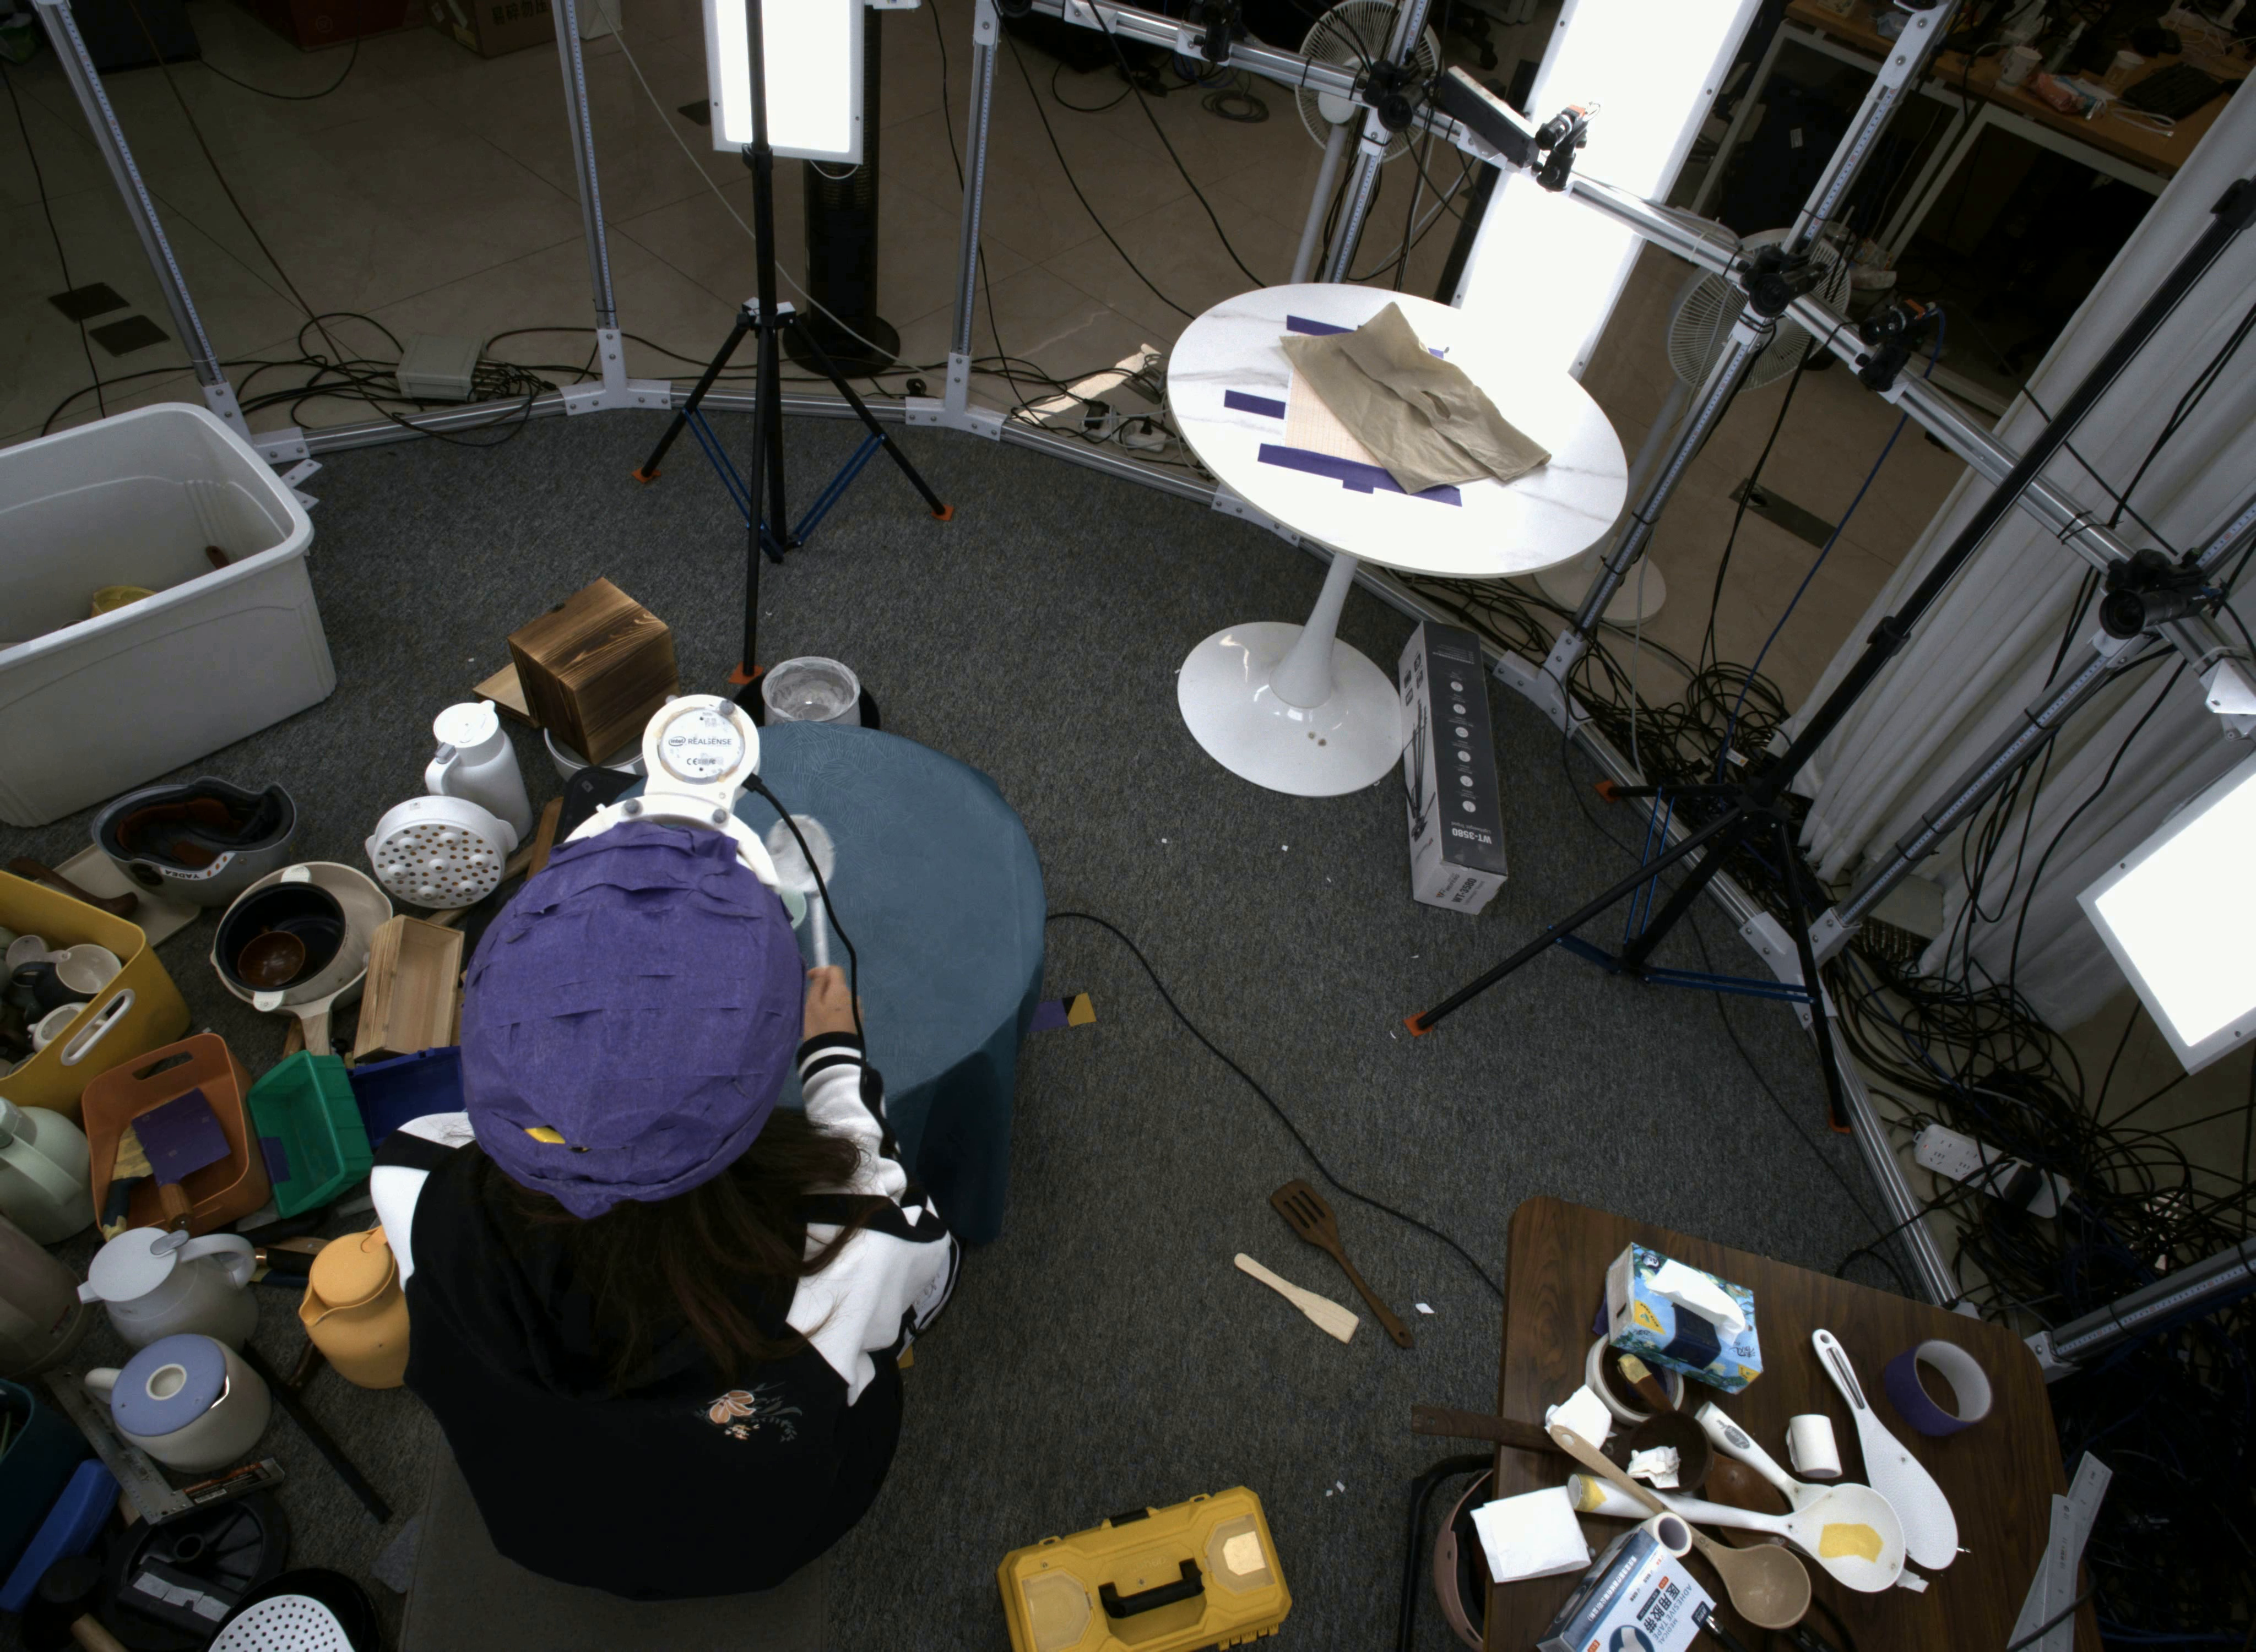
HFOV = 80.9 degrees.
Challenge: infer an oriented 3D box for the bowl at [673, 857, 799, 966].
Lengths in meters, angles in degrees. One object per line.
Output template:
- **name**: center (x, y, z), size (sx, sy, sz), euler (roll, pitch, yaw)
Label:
- **bowl**: center (-0.479, 0.112, 1.586), size (0.151, 0.060, 0.149), euler (8, 52, -8)

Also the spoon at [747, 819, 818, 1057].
- **spoon**: center (-0.390, 0.124, 1.469), size (0.061, 0.099, 0.273), euler (28, 45, -51)
